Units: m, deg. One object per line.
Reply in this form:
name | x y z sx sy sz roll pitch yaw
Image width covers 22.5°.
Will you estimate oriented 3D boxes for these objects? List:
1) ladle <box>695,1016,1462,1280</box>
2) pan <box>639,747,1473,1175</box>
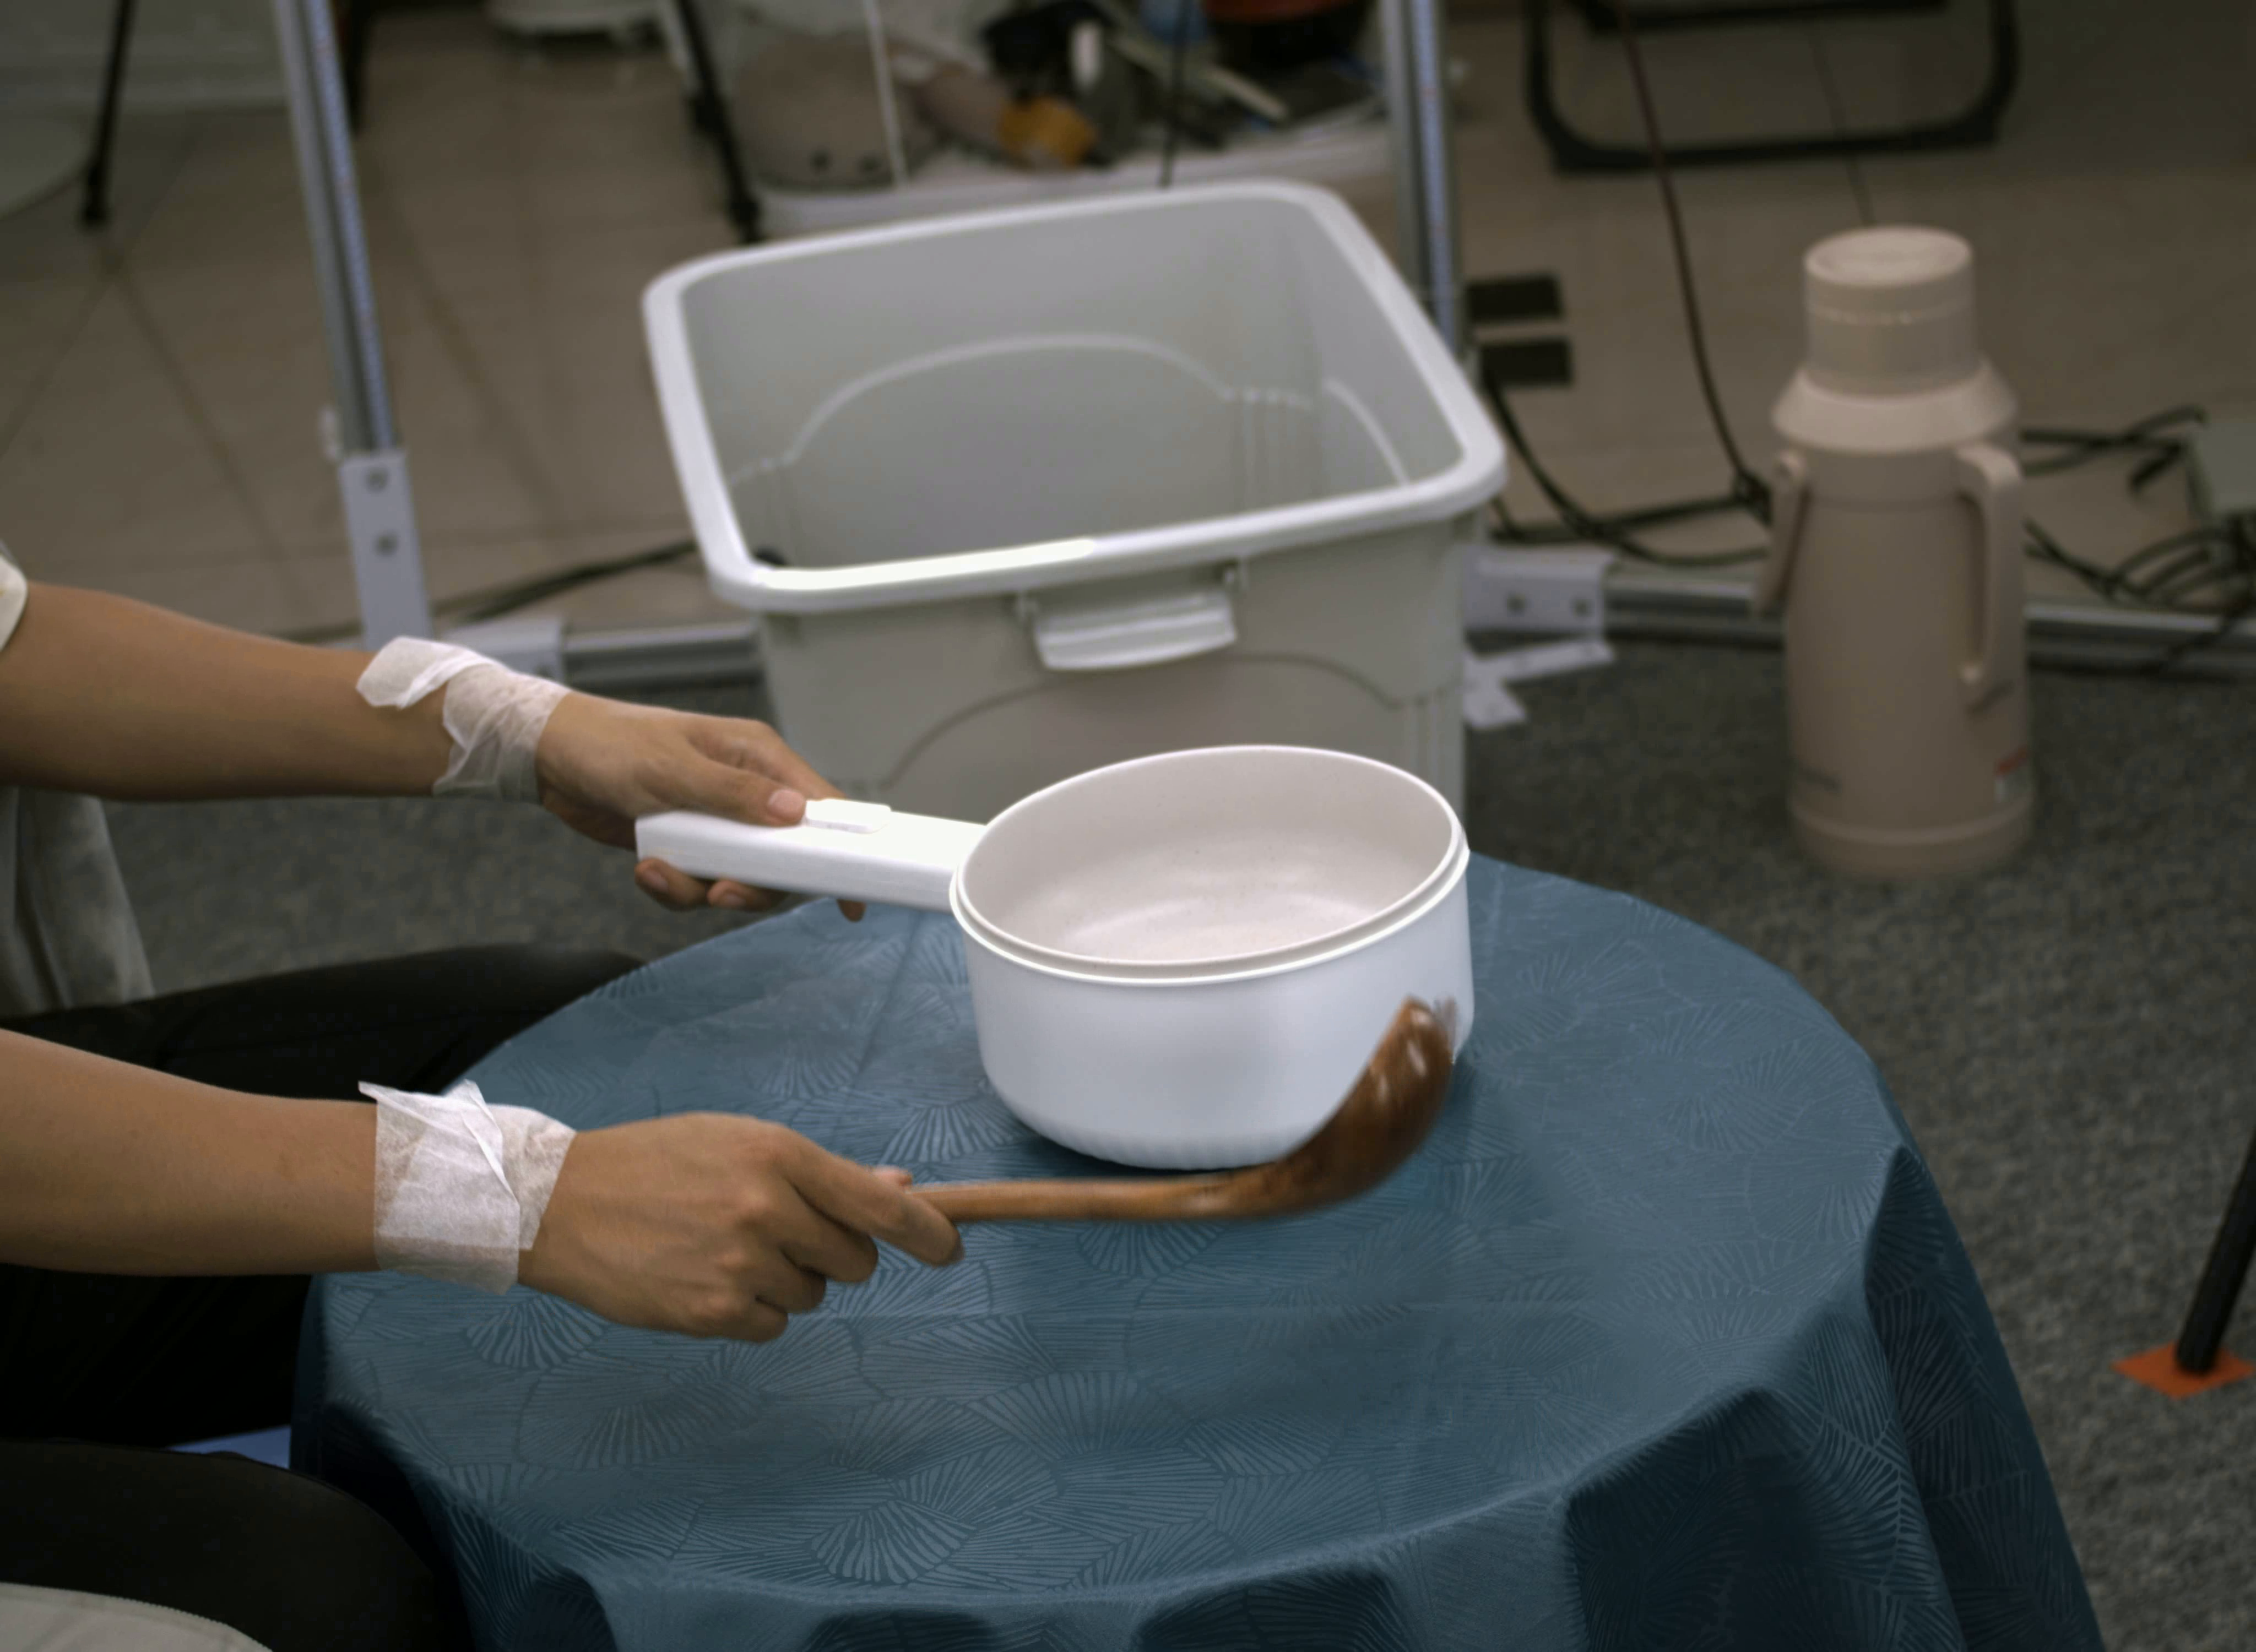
ladle | -0.018 0.113 2.002 0.273 0.083 0.076 -4 71 3
pan | -0.032 0.048 2.238 0.353 0.104 0.198 7 30 28
